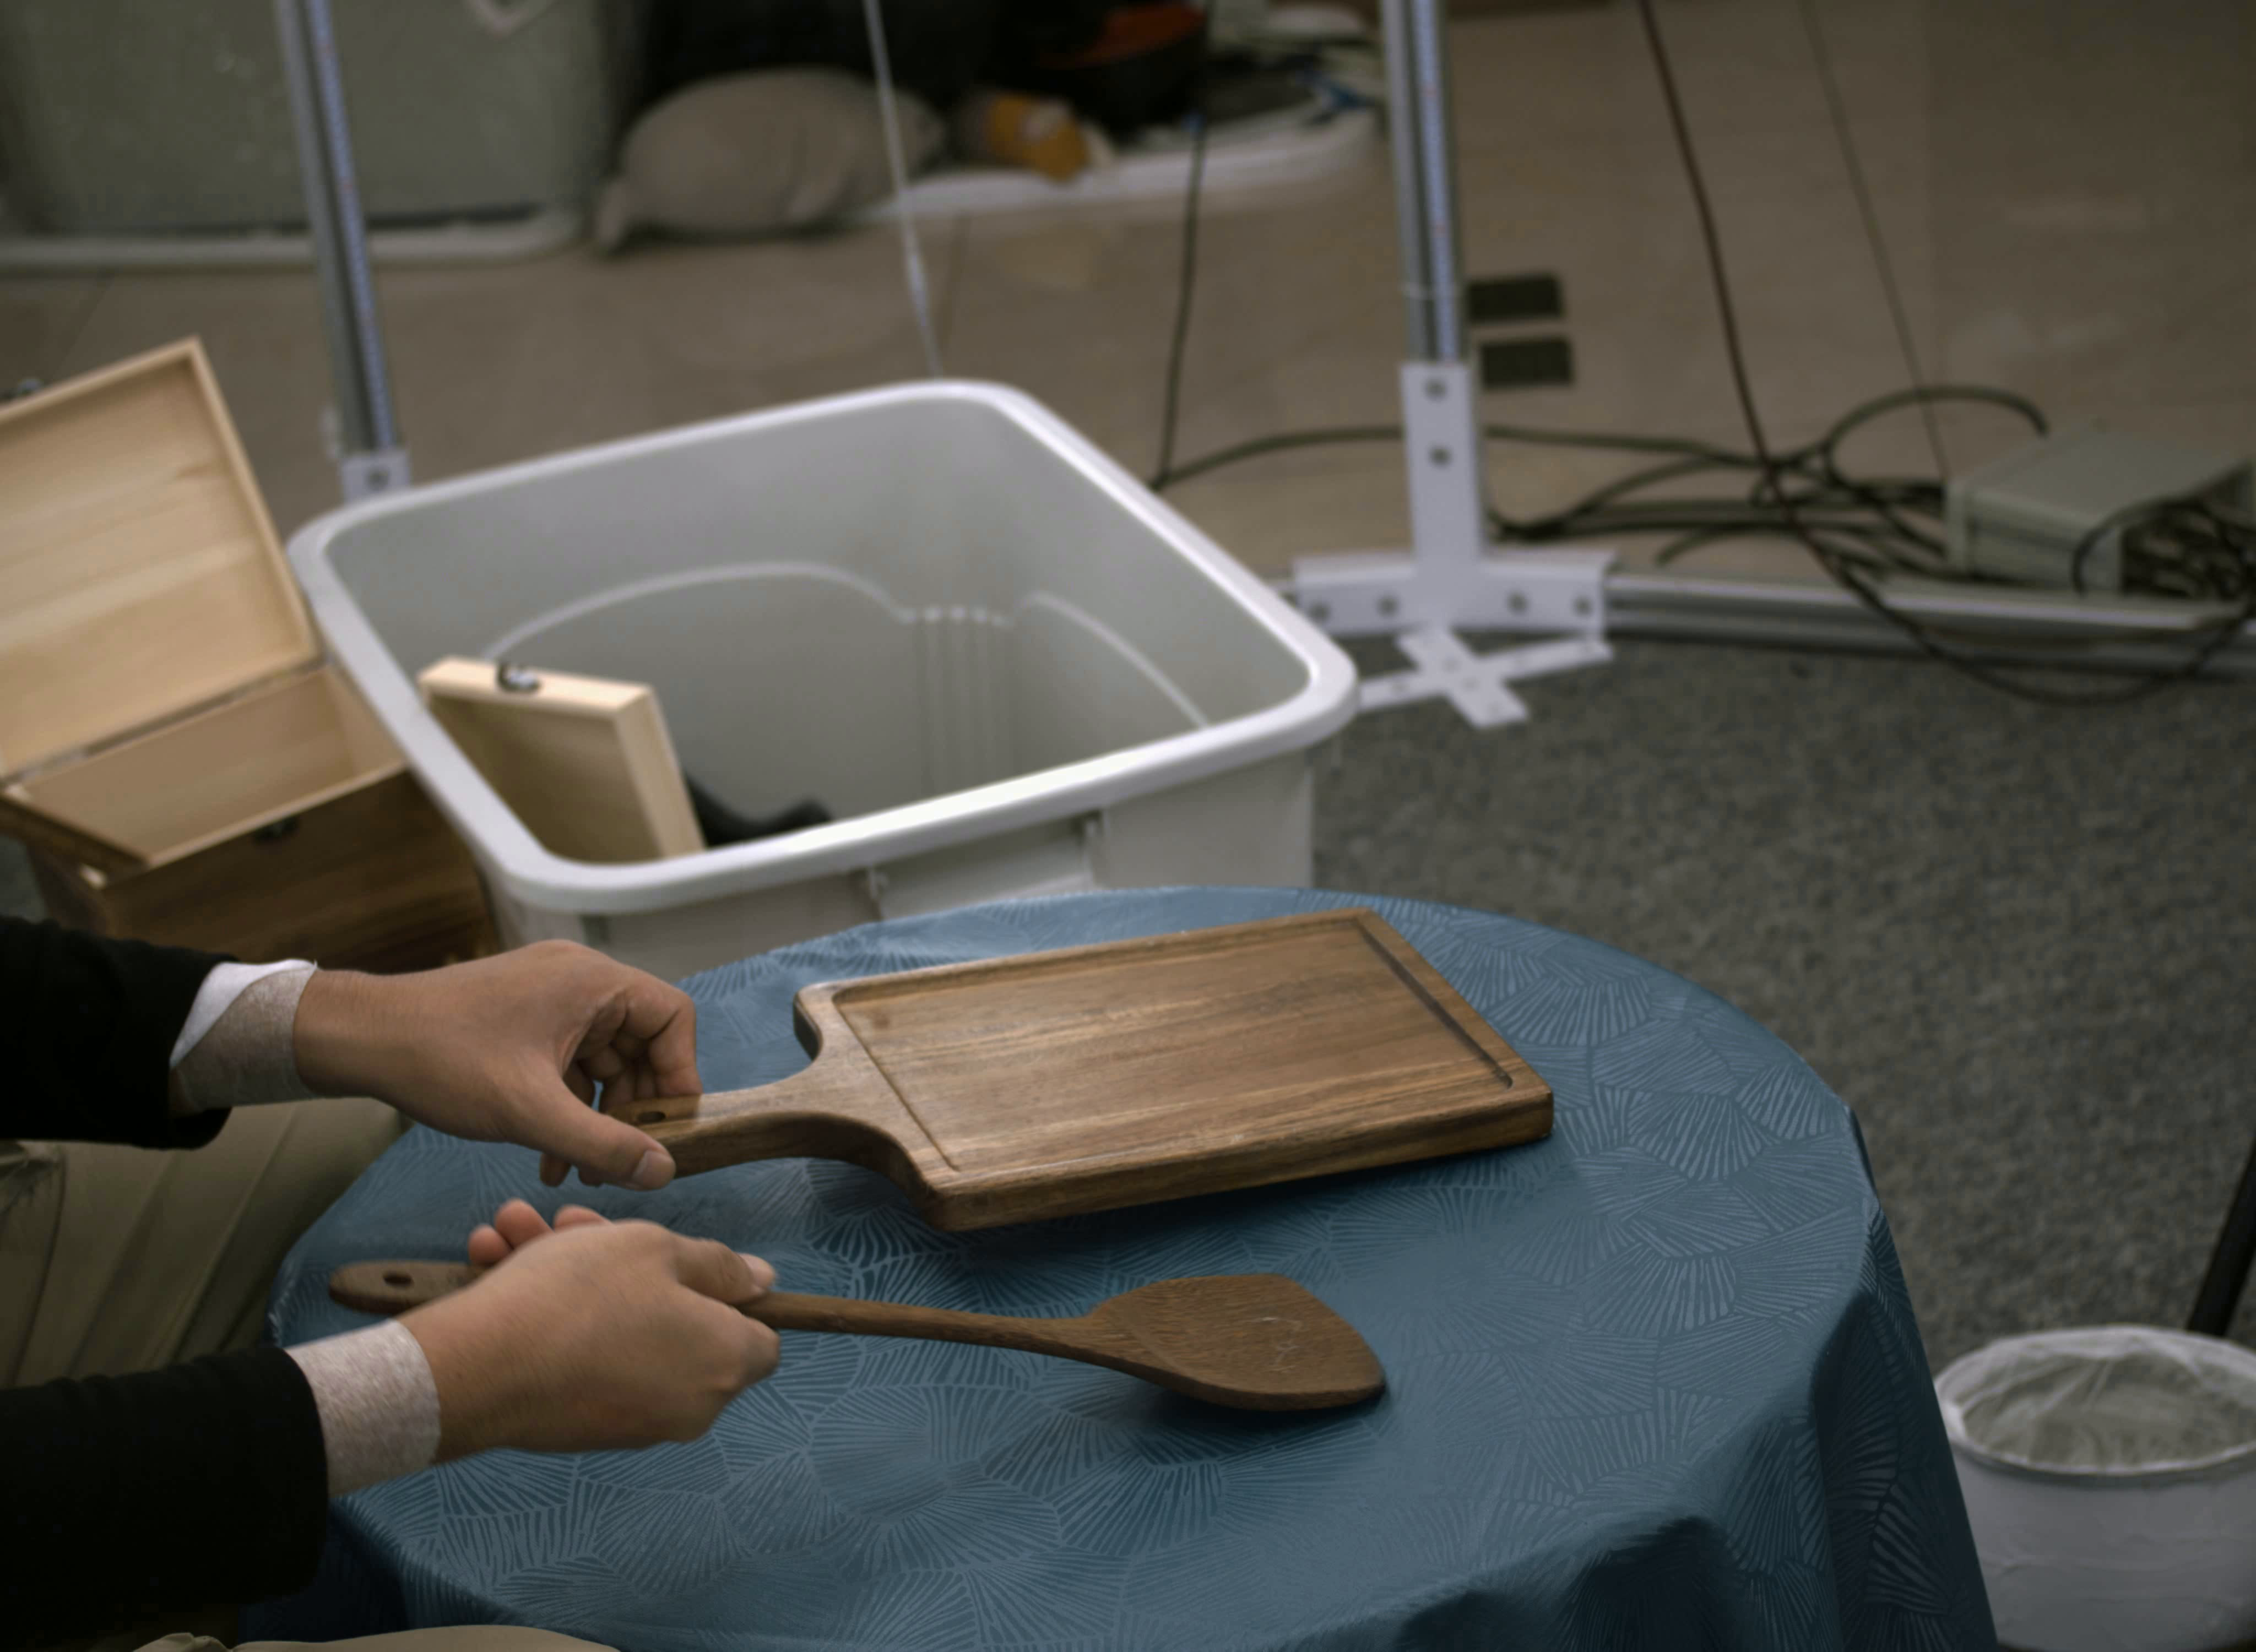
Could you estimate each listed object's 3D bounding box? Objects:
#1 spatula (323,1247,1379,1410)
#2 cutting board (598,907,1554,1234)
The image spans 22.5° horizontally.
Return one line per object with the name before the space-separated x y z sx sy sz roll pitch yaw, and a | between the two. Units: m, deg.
spatula | -0.091 0.167 1.941 0.386 0.016 0.095 7 19 -27
cutting board | -0.033 0.098 2.179 0.351 0.023 0.198 -8 24 -18
